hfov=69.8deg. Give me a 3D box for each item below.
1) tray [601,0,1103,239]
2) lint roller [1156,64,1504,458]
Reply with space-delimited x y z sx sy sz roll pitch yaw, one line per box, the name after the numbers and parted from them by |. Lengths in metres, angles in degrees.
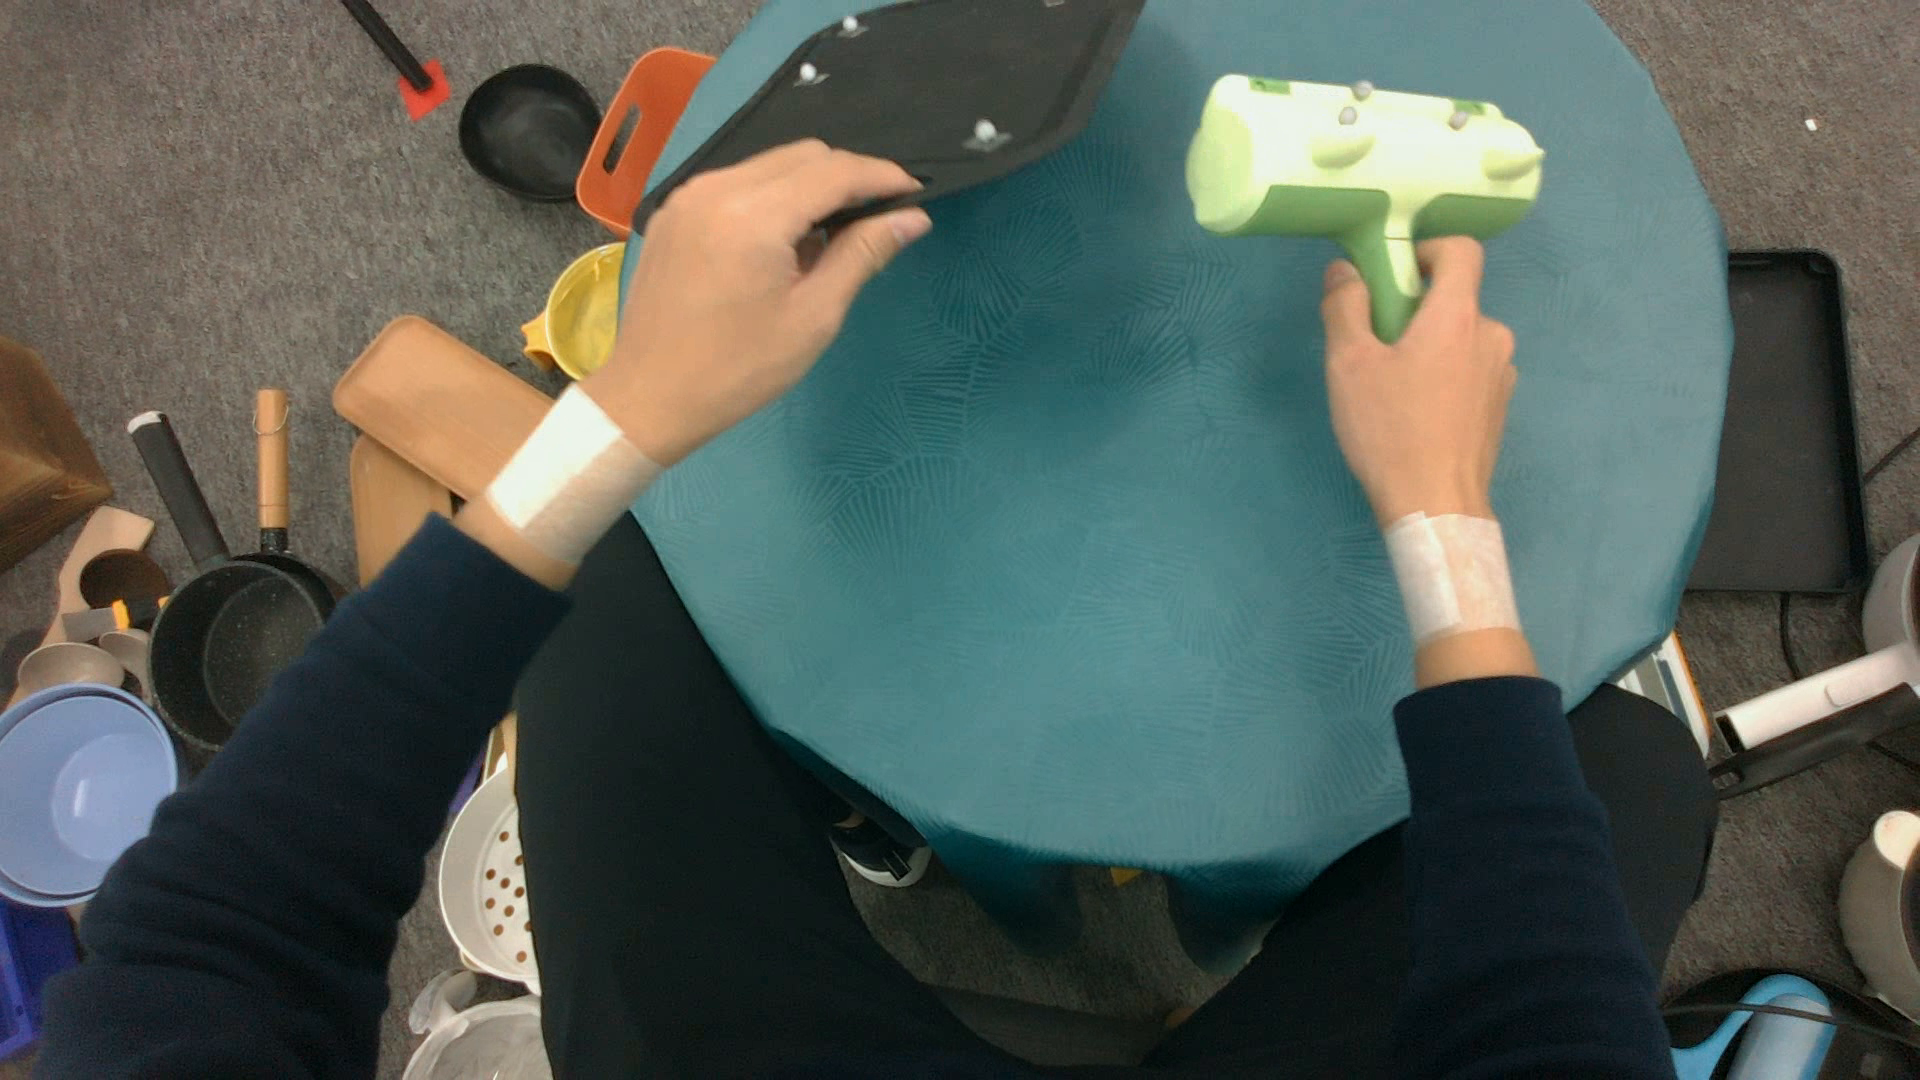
-0.038 -0.221 0.658 0.210 0.010 0.327 -7 34 21 | tray
0.197 -0.134 0.631 0.199 0.082 0.183 -11 77 -34 | lint roller
